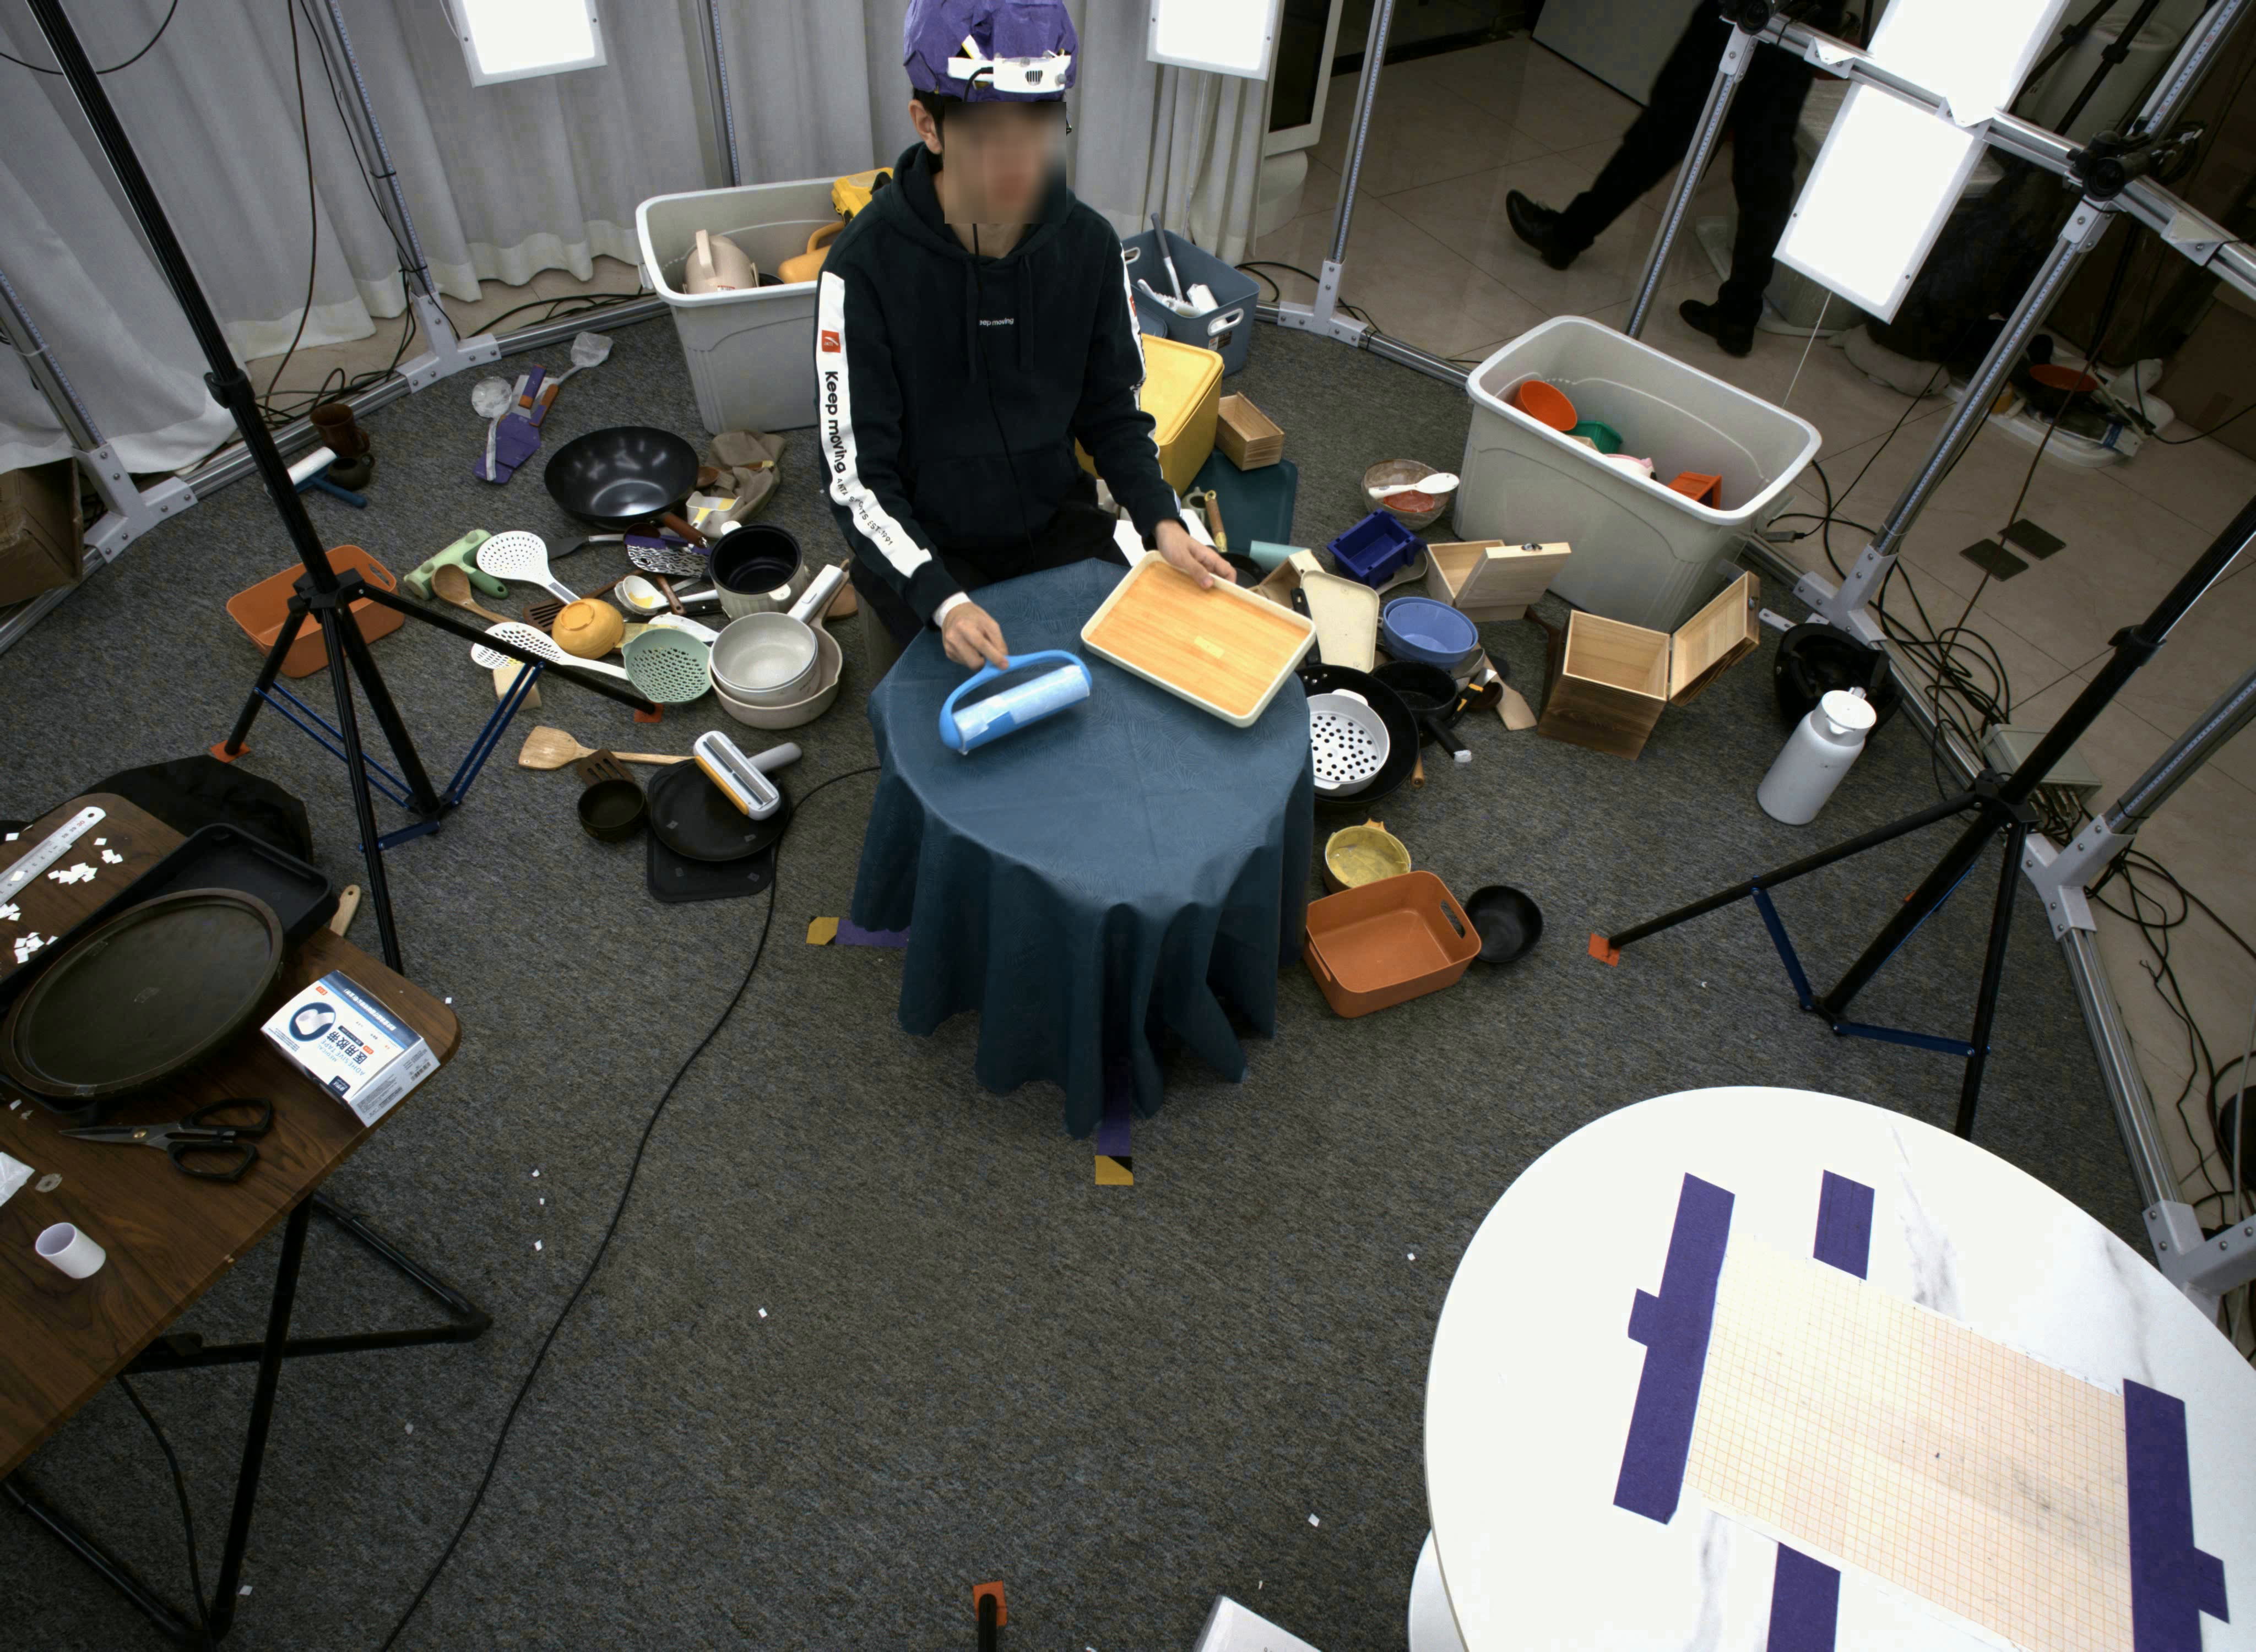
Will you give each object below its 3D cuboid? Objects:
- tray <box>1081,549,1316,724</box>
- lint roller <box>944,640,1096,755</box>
[{"bbox_3d":[0.100,-0.277,1.846,0.304,0.027,0.193,30,70,27],"label":"tray"},{"bbox_3d":[-0.177,-0.204,1.758,0.230,0.066,0.183,-30,66,-22],"label":"lint roller"}]
